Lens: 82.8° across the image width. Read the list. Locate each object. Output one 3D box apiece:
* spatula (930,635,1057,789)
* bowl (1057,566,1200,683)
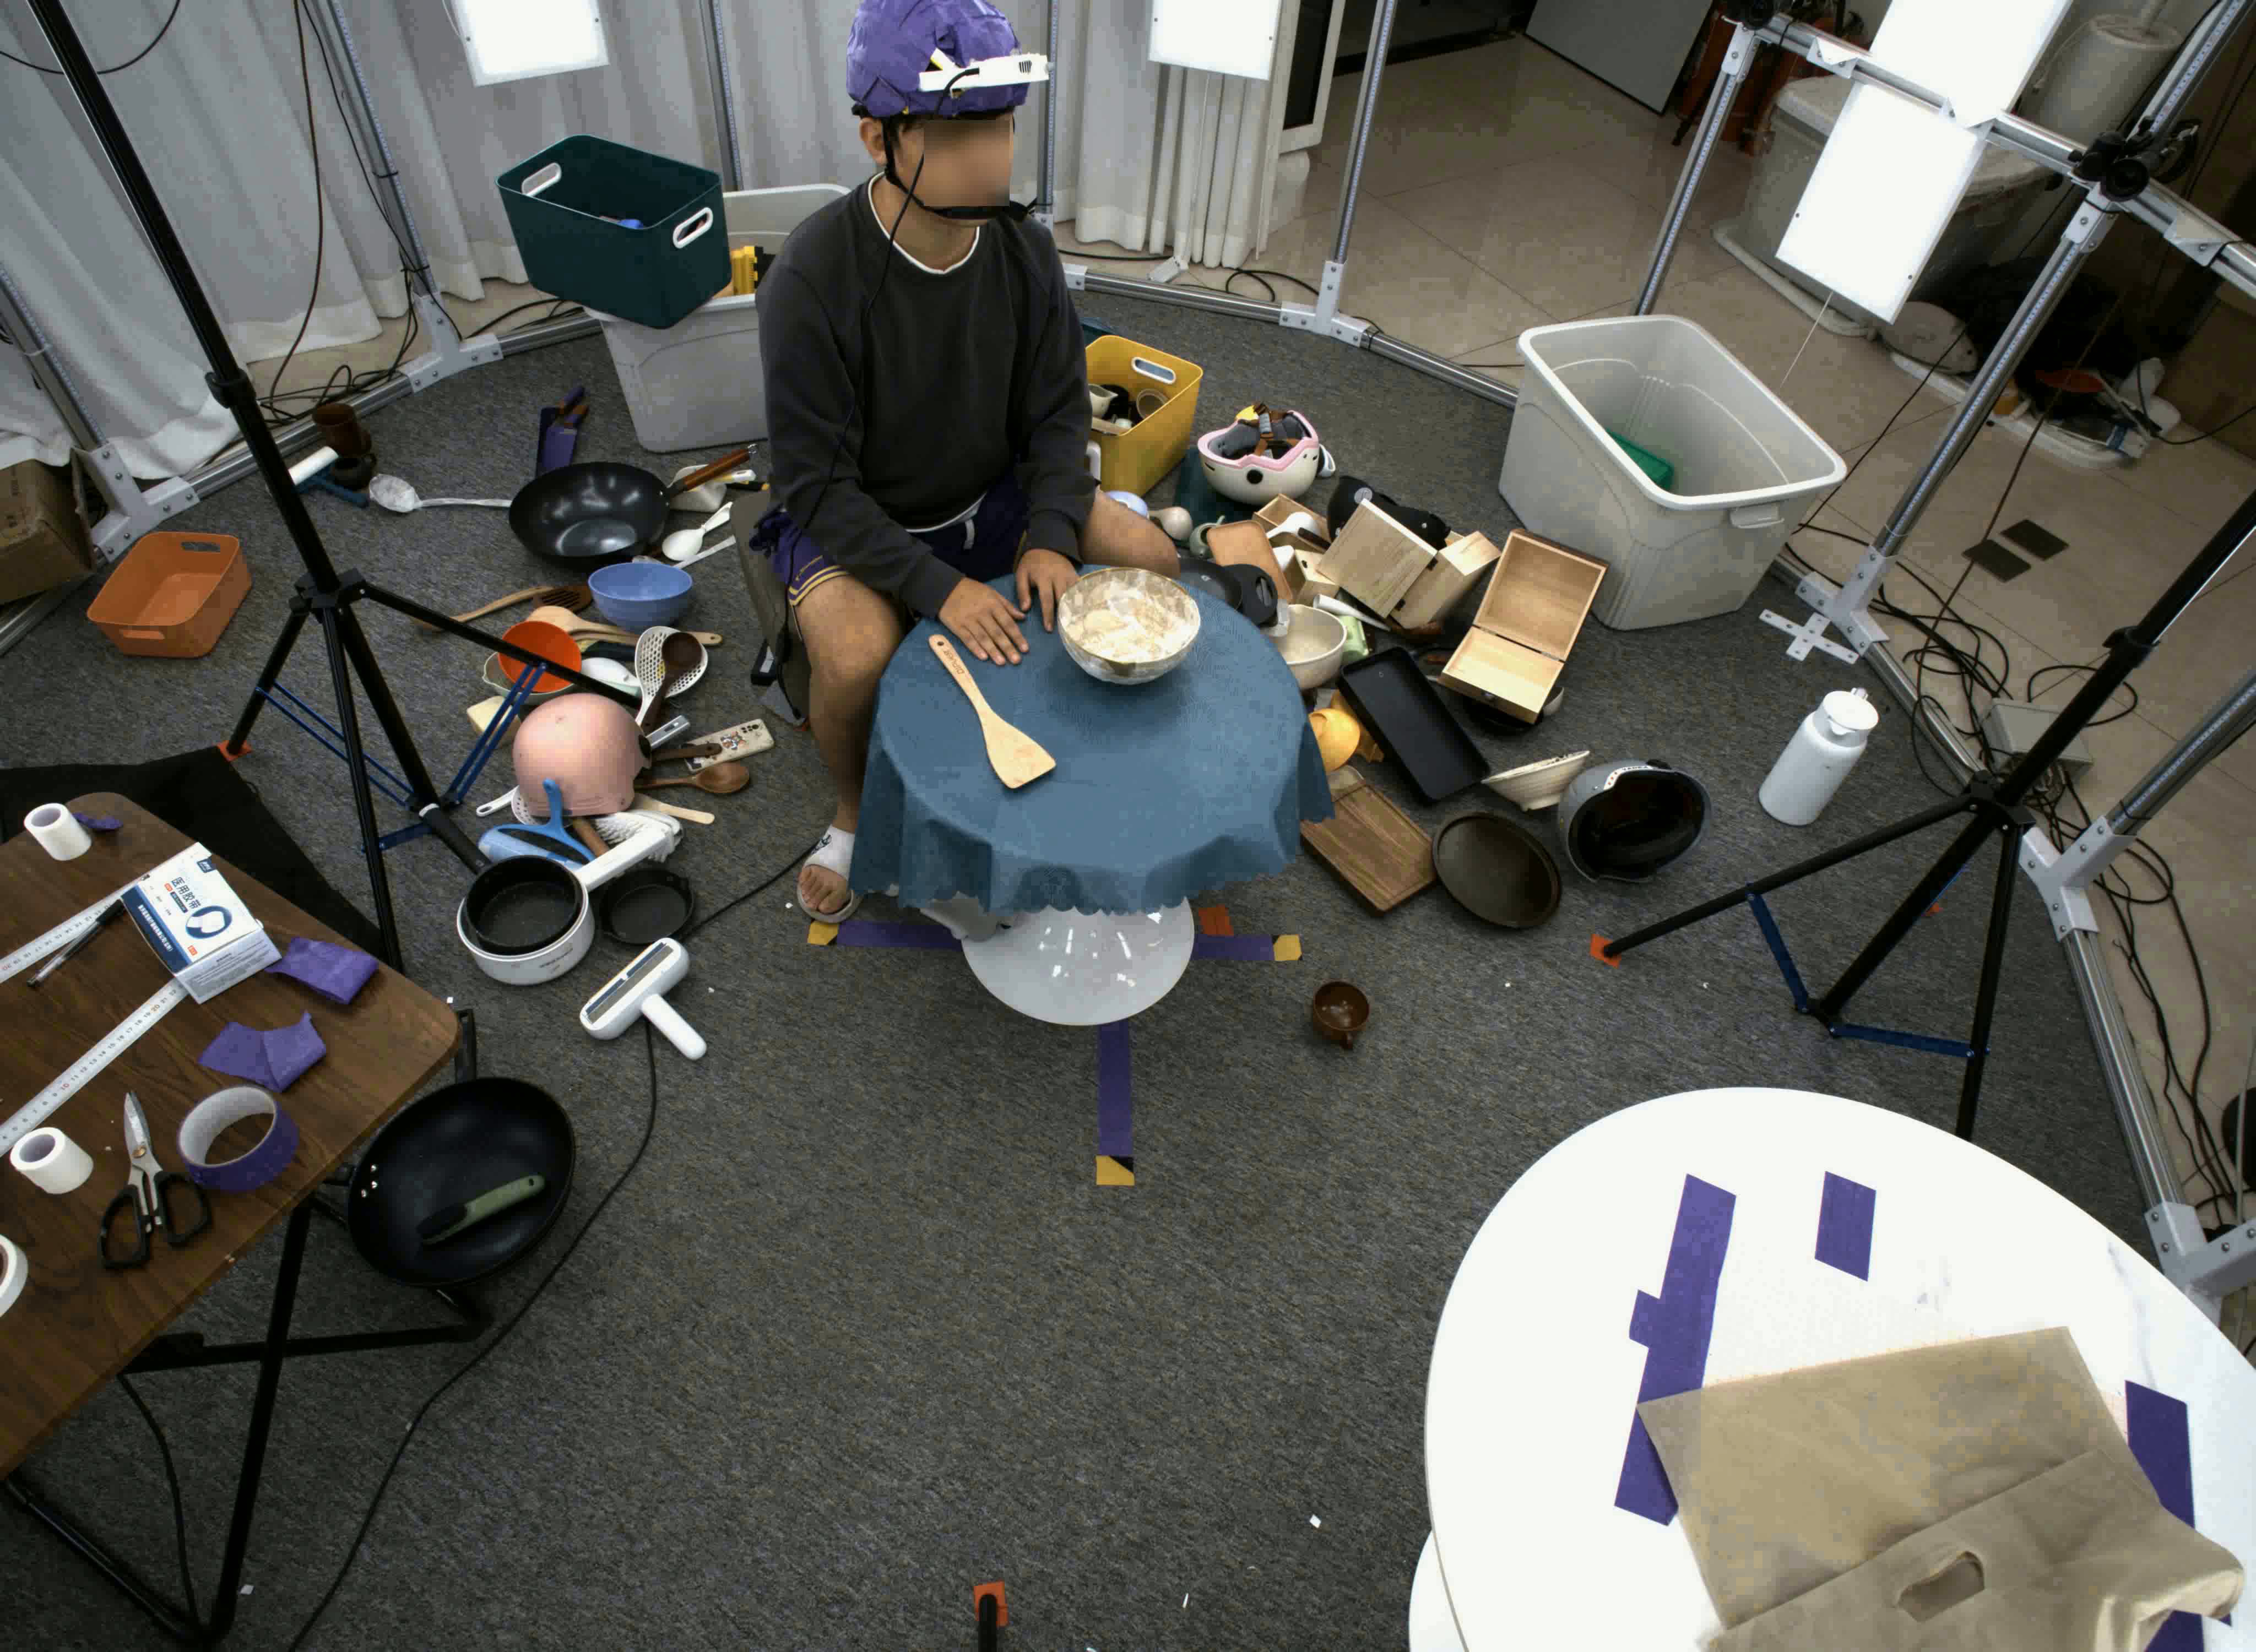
[{"bbox_3d":[-0.200,-0.168,1.788,0.080,0.016,0.334,-21,53,-20],"label":"spatula"},{"bbox_3d":[-0.003,-0.277,1.845,0.214,0.092,0.220,2,50,-2],"label":"bowl"}]
